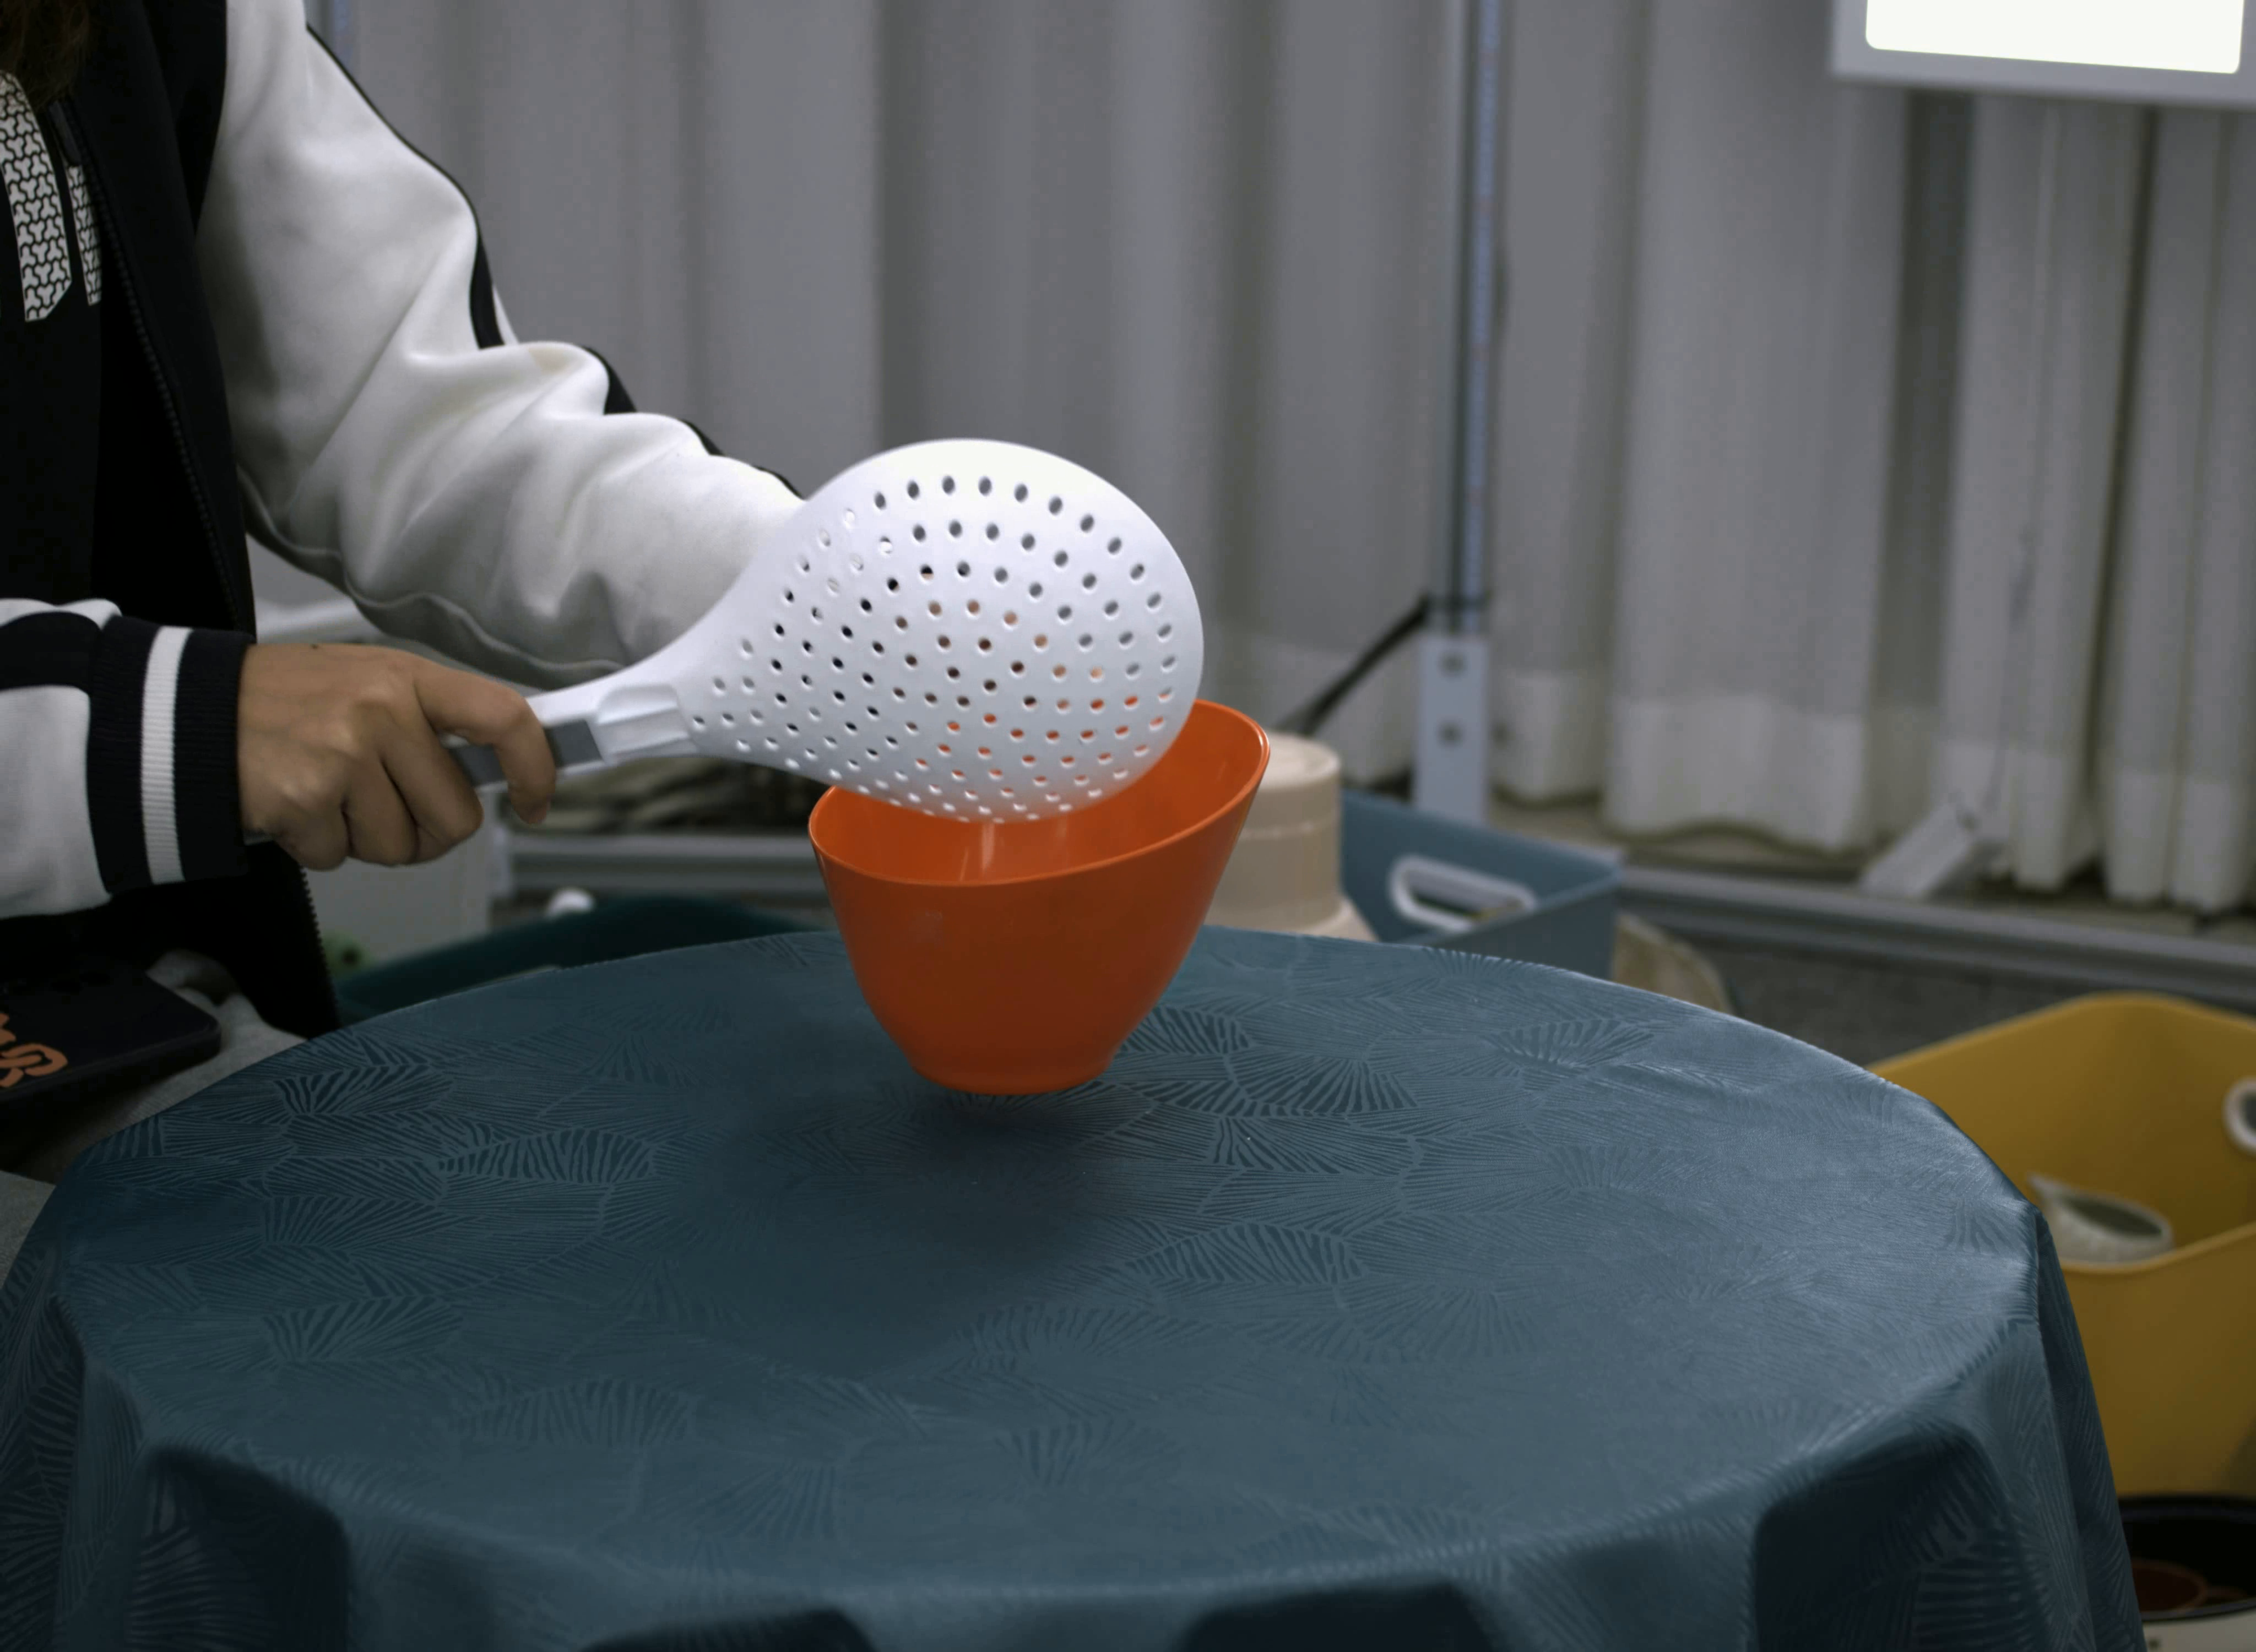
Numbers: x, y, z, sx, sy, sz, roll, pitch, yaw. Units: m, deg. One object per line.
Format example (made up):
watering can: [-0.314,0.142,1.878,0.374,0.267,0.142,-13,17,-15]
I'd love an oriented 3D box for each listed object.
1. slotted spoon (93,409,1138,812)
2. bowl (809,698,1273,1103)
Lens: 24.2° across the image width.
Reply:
slotted spoon: [-0.163,-0.050,1.602,0.347,0.138,0.045,-8,48,23]
bowl: [-0.027,0.027,1.679,0.147,0.105,0.147,0,22,1]
